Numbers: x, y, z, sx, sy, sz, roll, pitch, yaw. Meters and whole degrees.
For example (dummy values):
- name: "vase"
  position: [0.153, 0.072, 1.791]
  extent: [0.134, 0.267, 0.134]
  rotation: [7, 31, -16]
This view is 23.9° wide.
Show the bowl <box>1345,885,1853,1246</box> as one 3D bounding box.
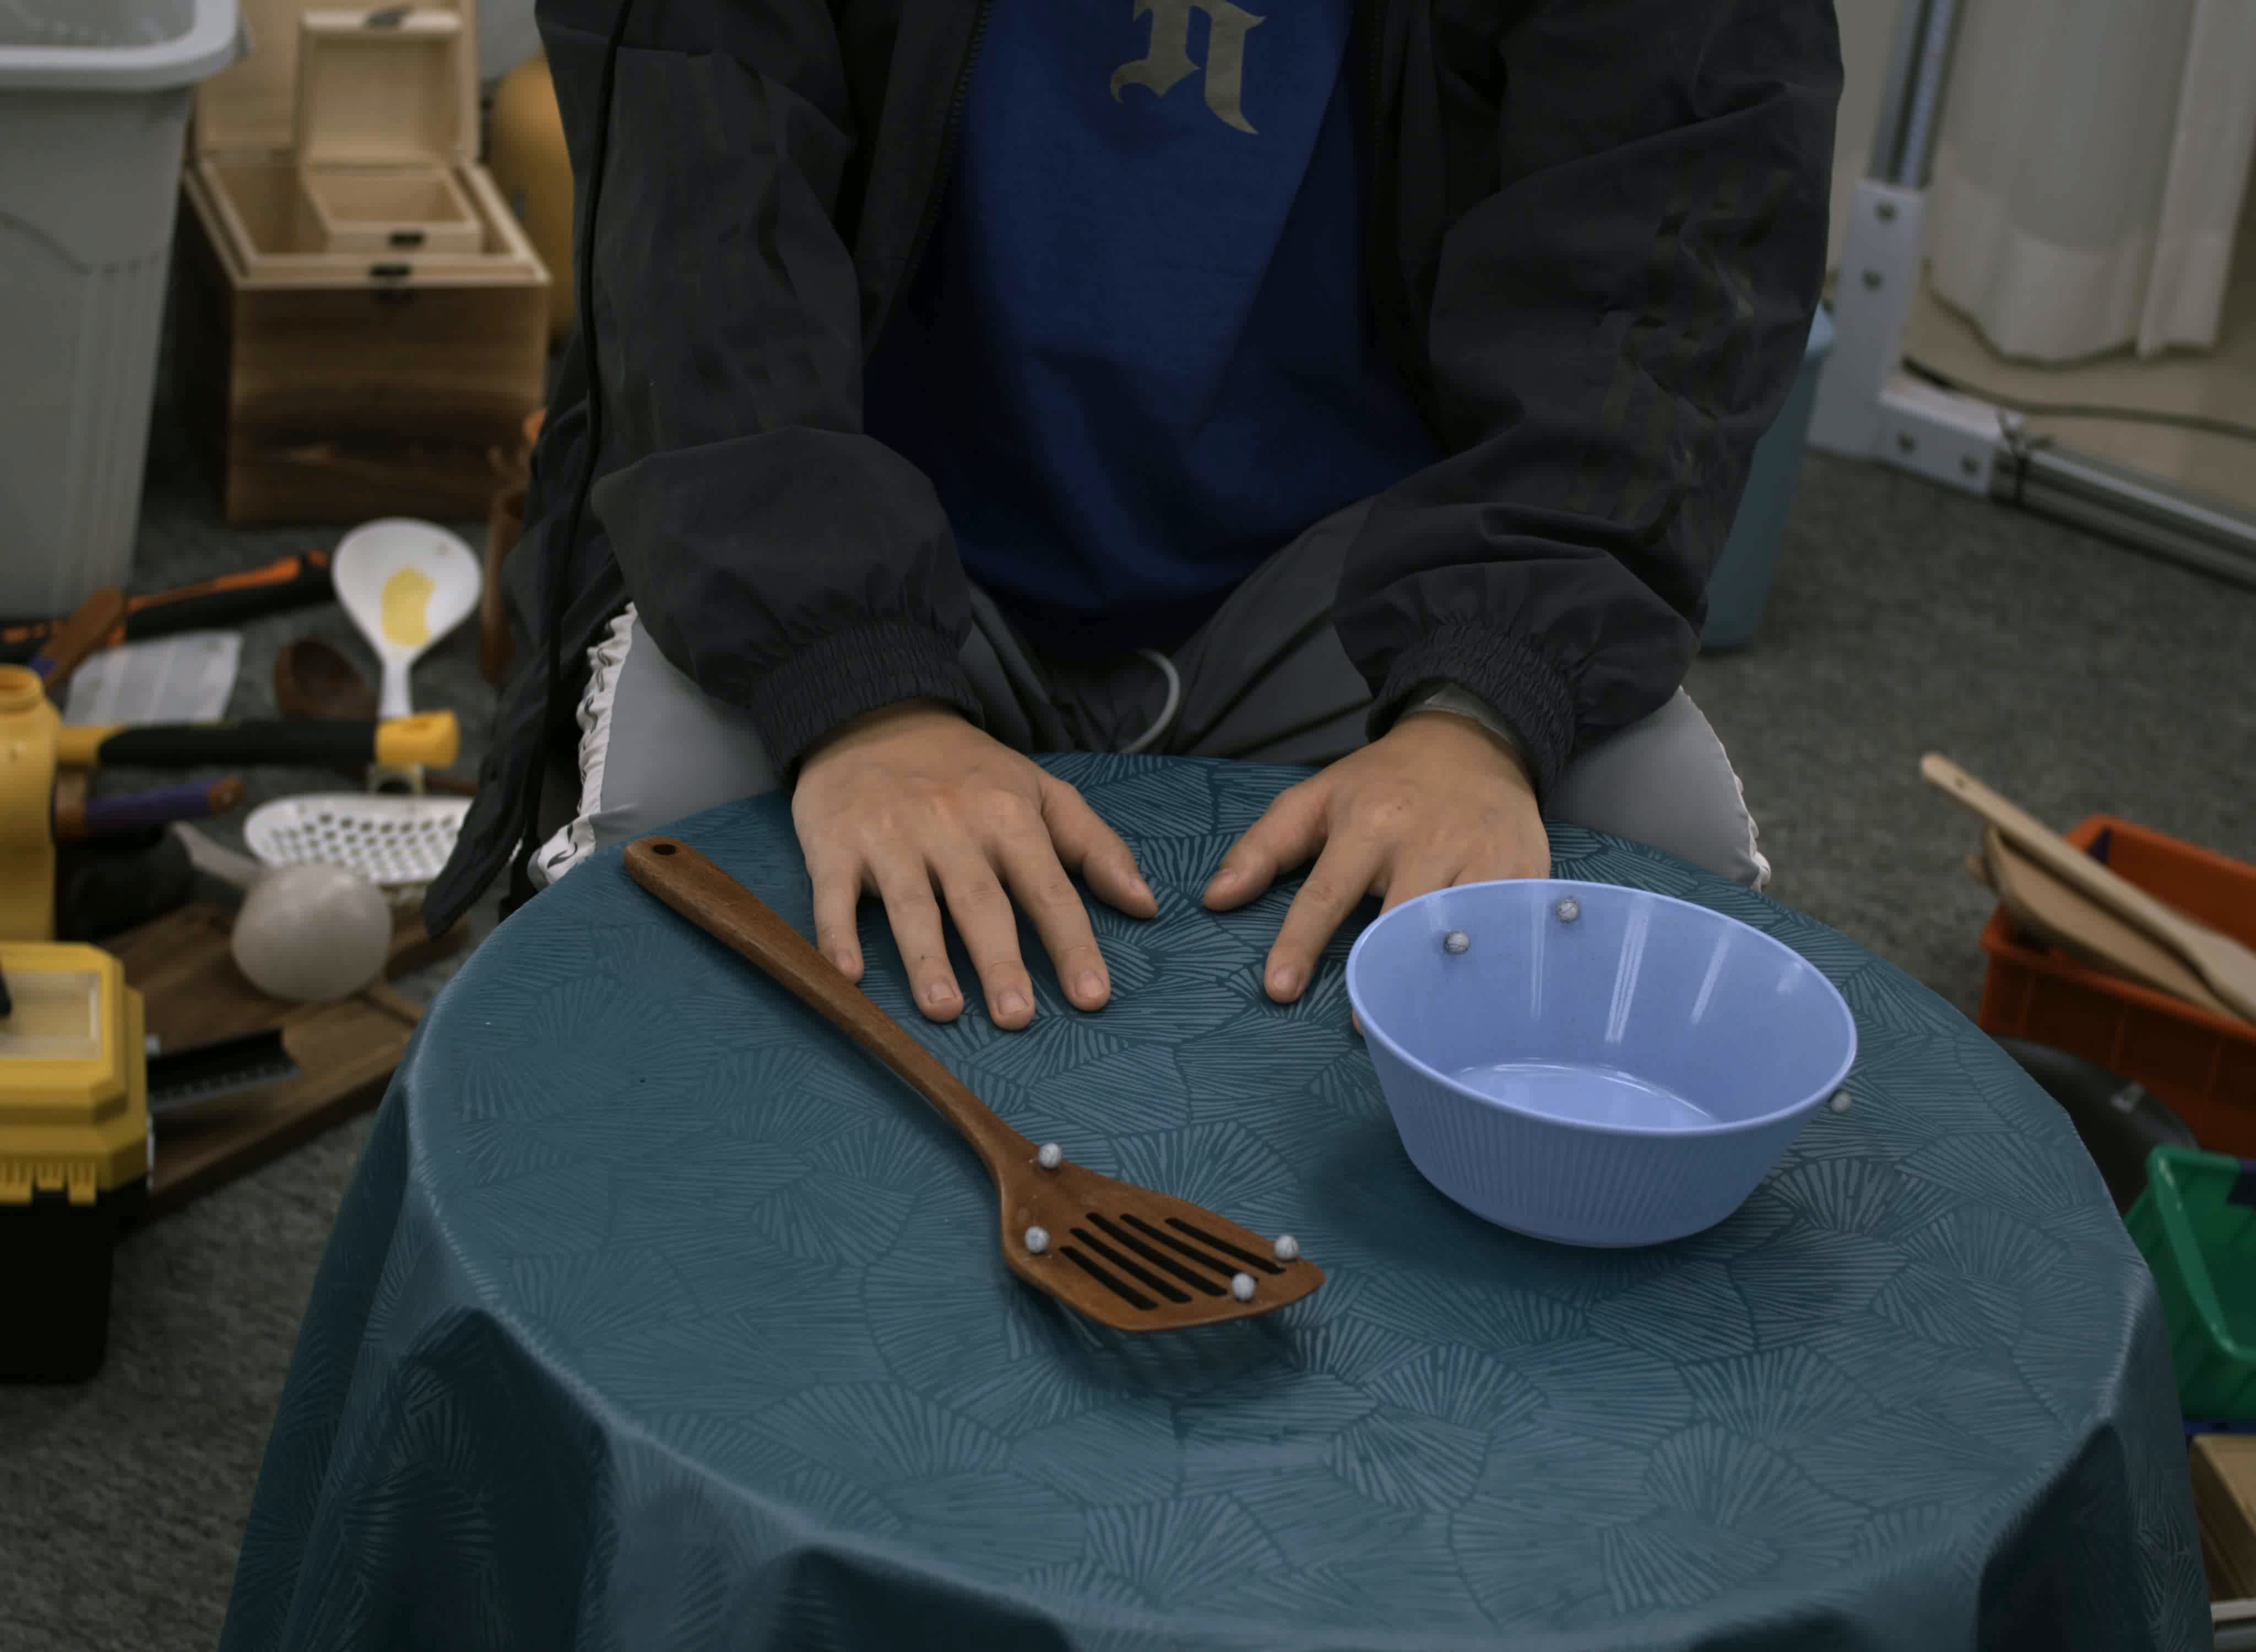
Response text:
- name: "bowl"
  position: [0.158, 0.088, 1.831]
  extent: [0.175, 0.070, 0.177]
  rotation: [5, 26, -3]

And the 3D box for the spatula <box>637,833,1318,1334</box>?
- name: "spatula"
  position: [-0.072, 0.086, 1.839]
  extent: [0.085, 0.024, 0.390]
  rotation: [-11, 30, -32]
